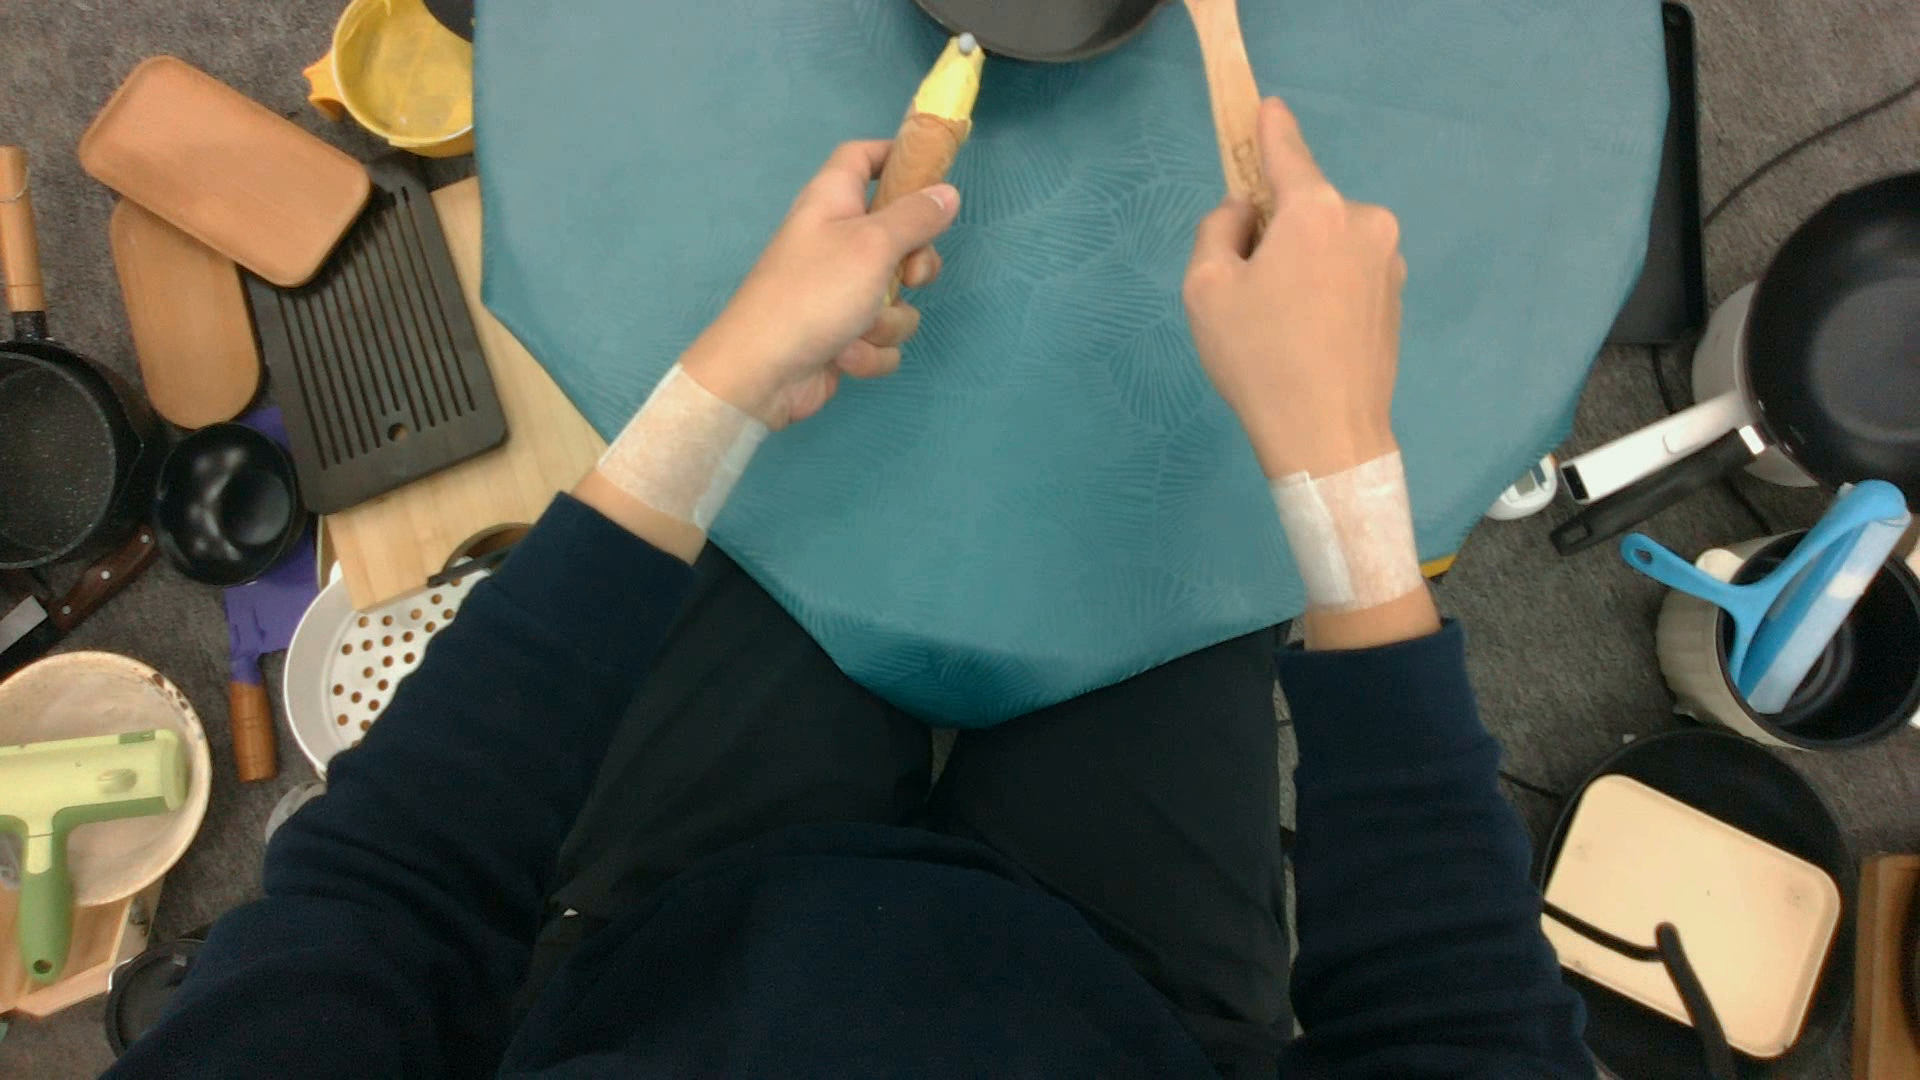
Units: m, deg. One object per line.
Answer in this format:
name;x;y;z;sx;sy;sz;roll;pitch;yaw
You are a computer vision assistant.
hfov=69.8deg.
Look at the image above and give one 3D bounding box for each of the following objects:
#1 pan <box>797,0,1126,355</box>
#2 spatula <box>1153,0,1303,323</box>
pan;-0.016;-0.224;0.629;0.169;0.049;0.325;24;72;-11
spatula;0.092;-0.234;0.601;0.079;0.016;0.328;-30;60;36
